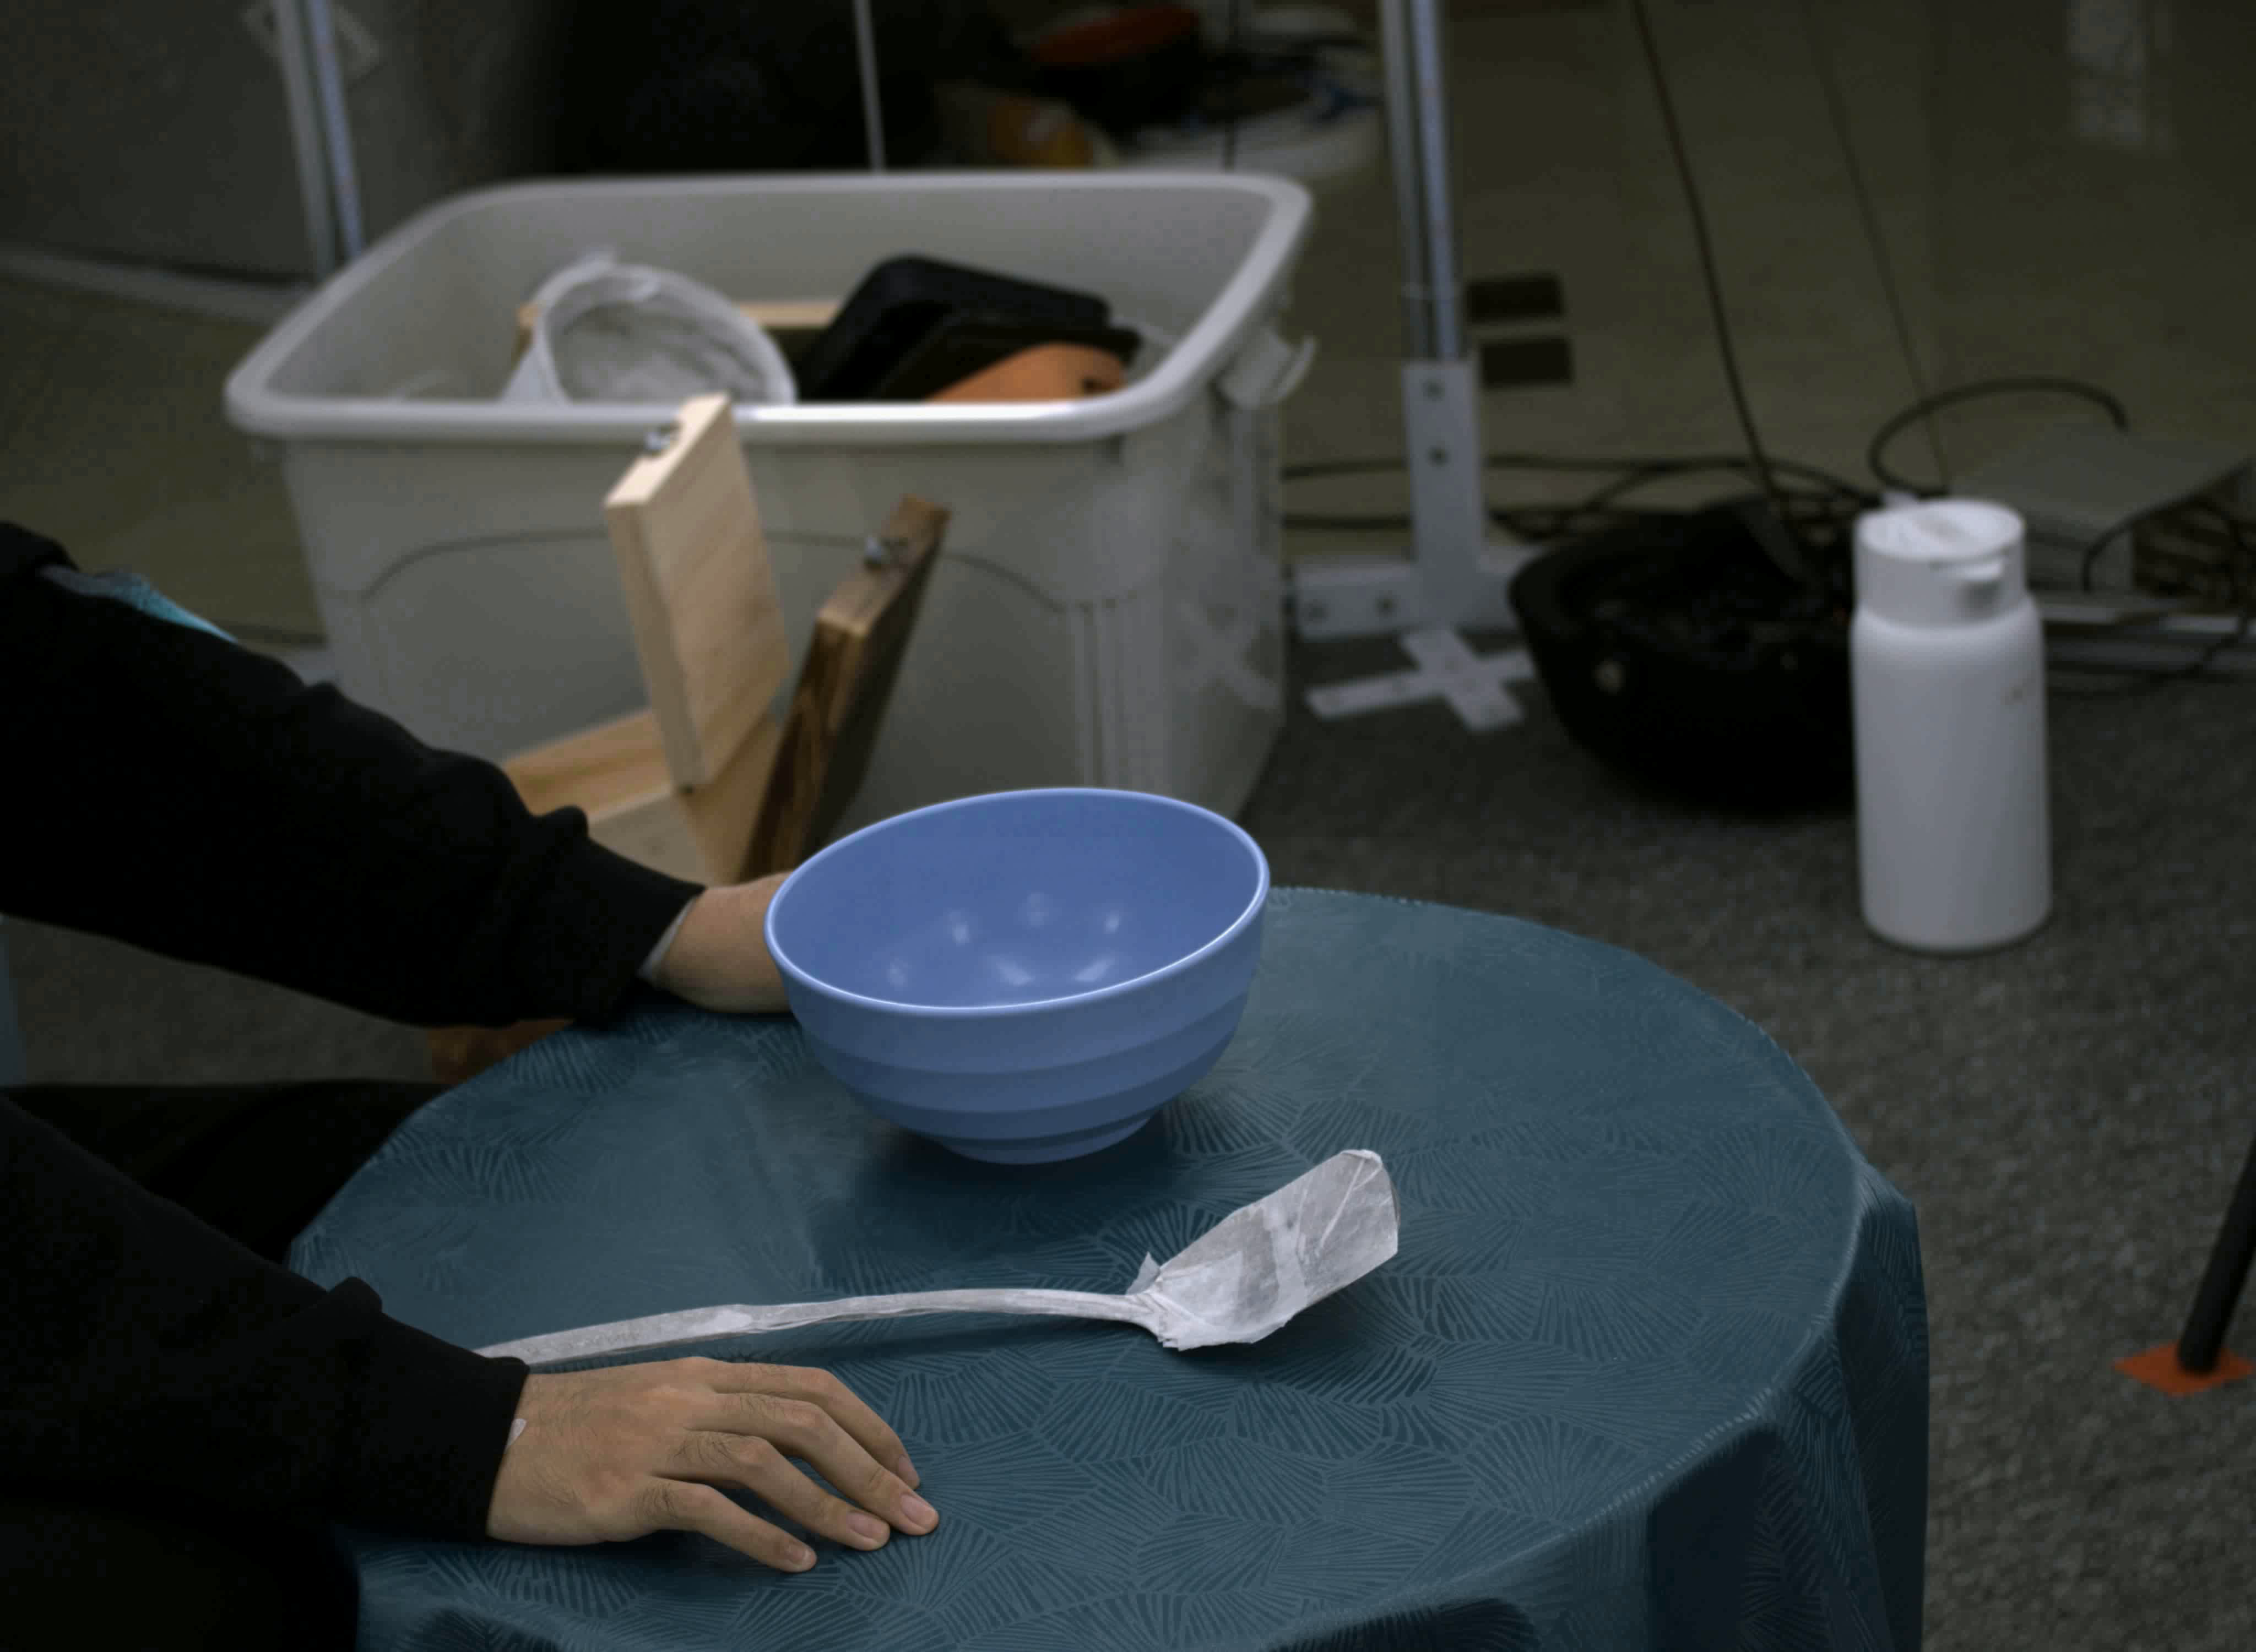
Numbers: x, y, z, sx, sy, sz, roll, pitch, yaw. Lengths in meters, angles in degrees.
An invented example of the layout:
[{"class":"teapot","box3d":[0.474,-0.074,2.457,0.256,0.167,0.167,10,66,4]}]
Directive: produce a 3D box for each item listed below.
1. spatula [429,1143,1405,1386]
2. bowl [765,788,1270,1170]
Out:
[{"class":"spatula","box3d":[-0.079,0.169,2.062,0.364,0.045,0.097,-5,27,2]},{"class":"bowl","box3d":[-0.037,0.070,2.199,0.196,0.097,0.193,-6,26,3]}]
